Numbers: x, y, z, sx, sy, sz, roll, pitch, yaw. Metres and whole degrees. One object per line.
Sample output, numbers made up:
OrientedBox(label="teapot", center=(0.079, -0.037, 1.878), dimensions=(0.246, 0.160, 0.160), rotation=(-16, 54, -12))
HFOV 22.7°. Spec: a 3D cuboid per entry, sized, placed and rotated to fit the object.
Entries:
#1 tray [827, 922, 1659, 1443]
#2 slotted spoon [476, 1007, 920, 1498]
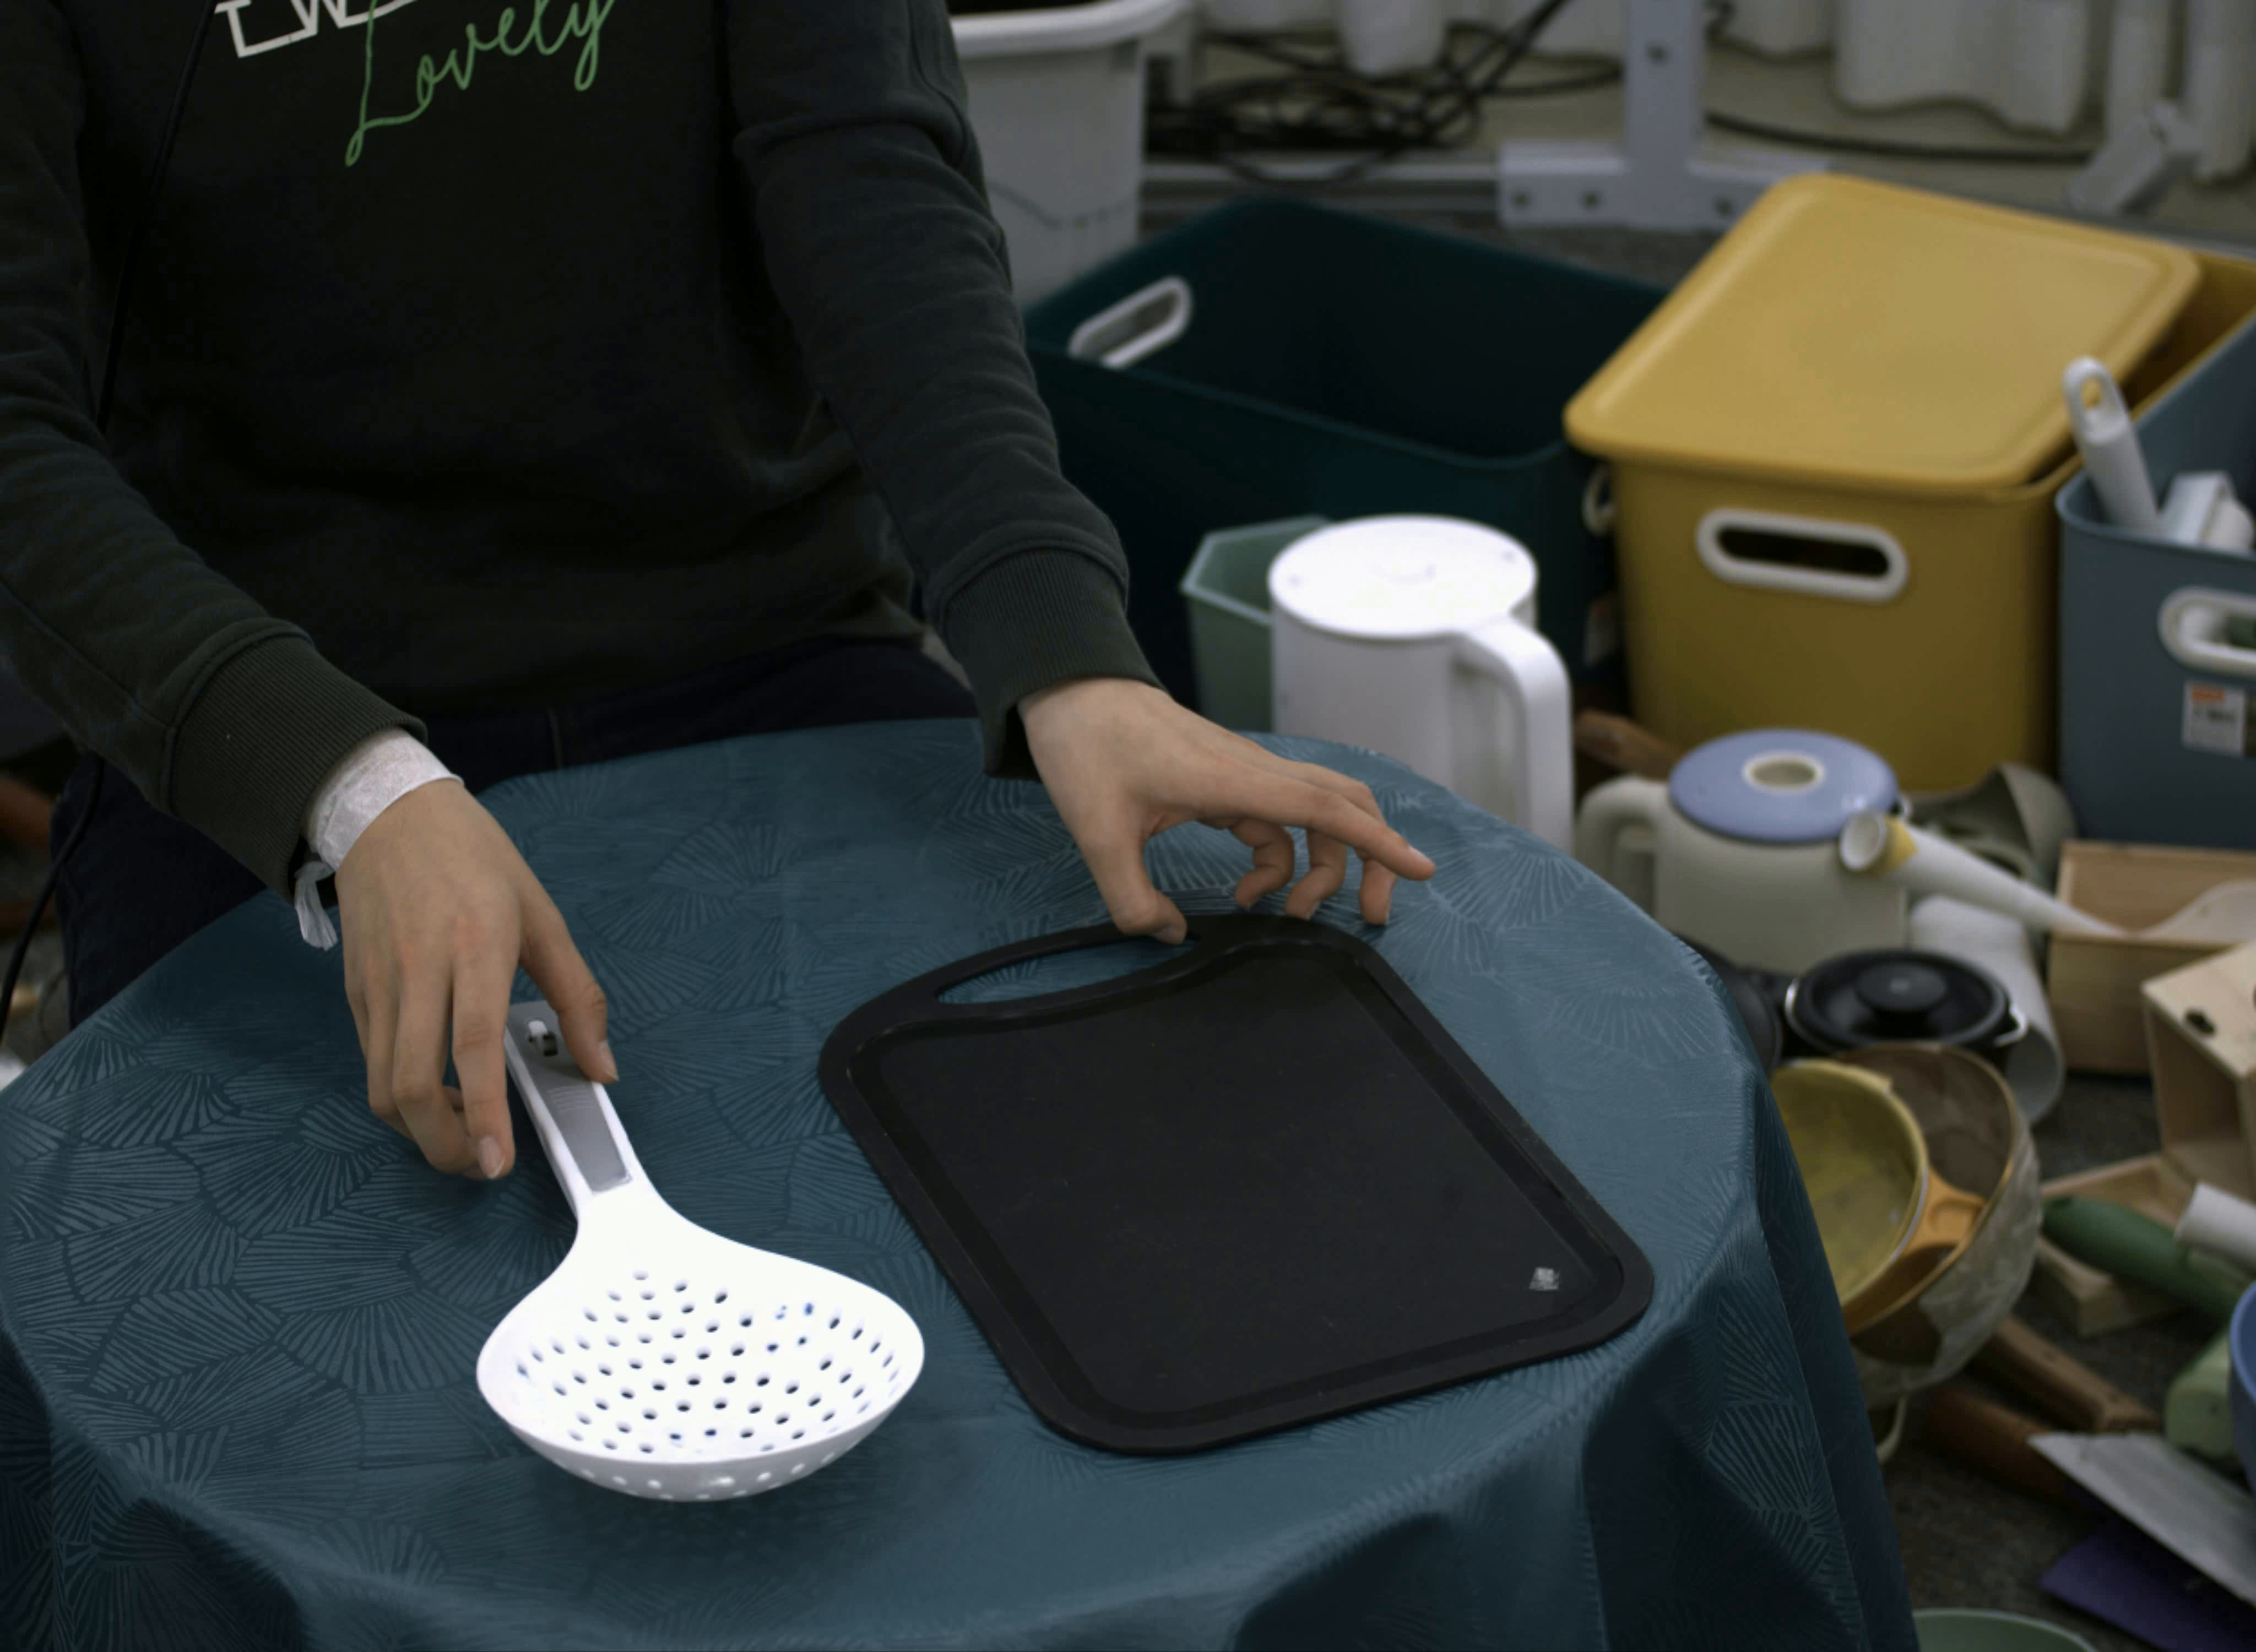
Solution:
OrientedBox(label="tray", center=(0.028, 0.109, 1.875), dimensions=(0.211, 0.009, 0.328), rotation=(-12, 28, -17))
OrientedBox(label="slotted spoon", center=(-0.161, 0.131, 1.810), dimensions=(0.136, 0.045, 0.353), rotation=(-6, 26, -15))
